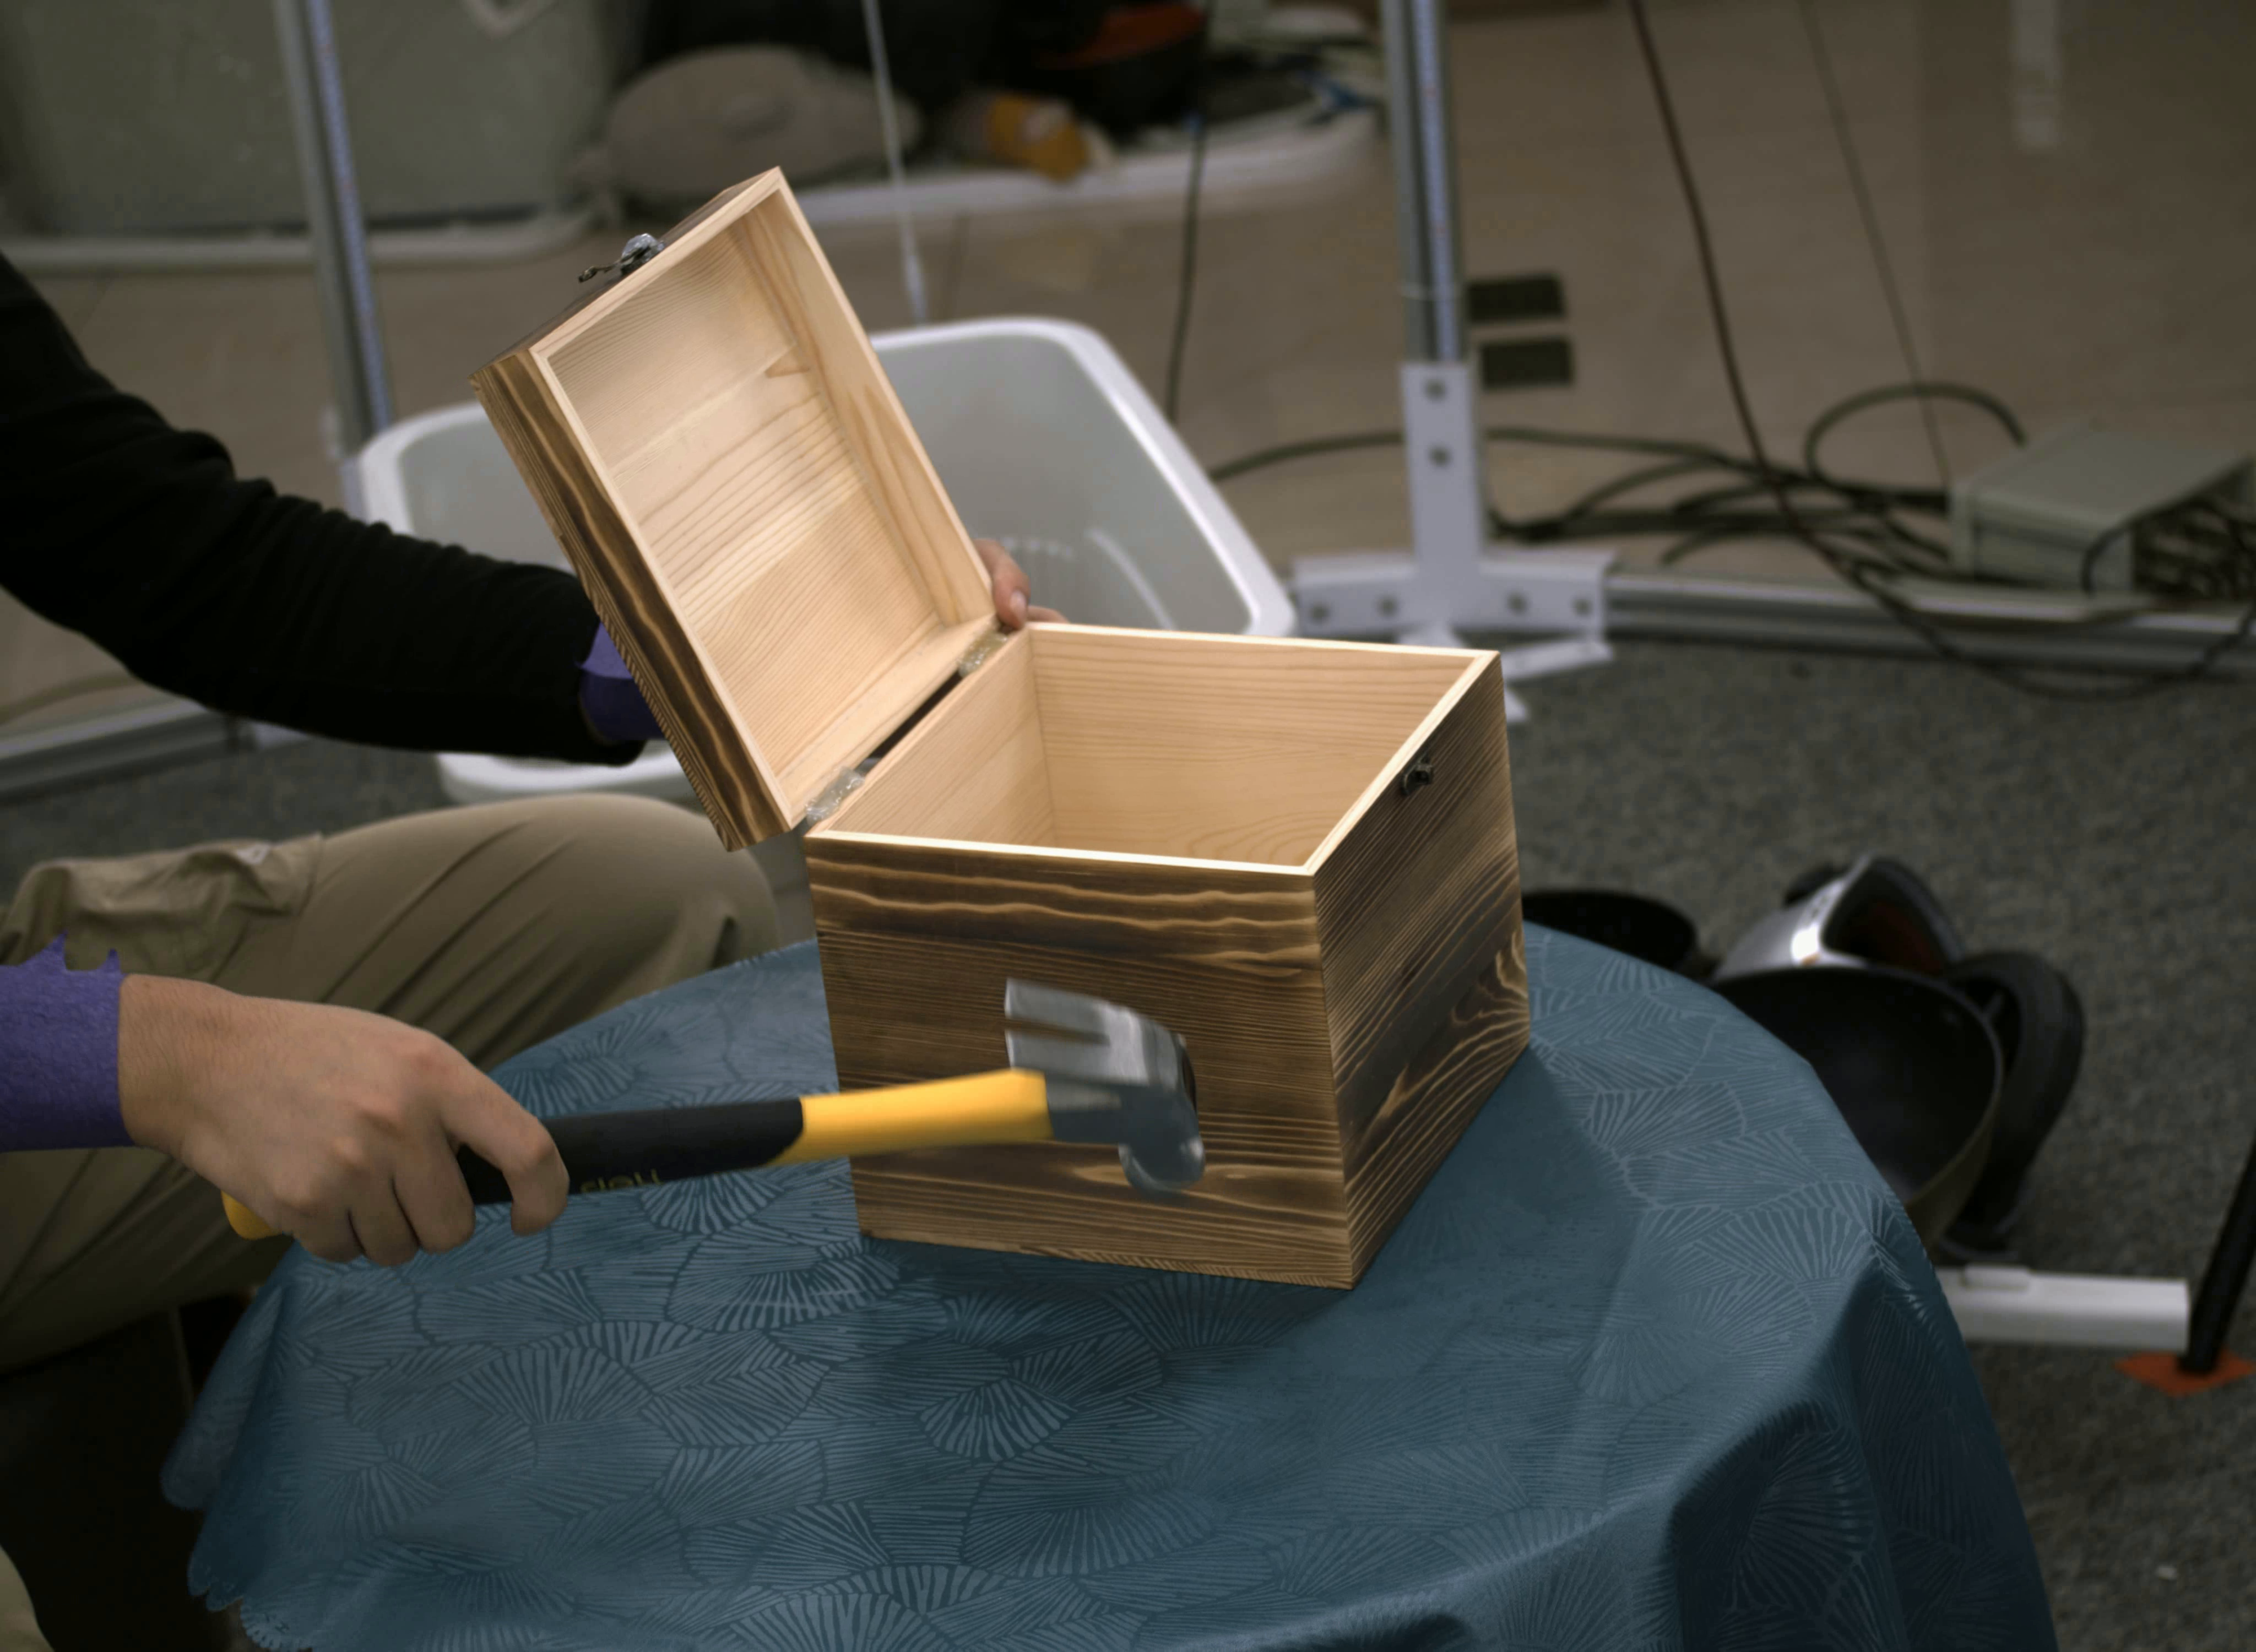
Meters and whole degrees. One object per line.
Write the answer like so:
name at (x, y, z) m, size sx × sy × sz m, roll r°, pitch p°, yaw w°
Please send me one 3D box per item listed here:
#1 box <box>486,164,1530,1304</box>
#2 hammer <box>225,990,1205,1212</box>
box at (-0.038, -0.043, 2.122) m, size 0.321 × 0.381 × 0.206 m, roll 4°, pitch 28°, yaw 23°
hammer at (-0.145, 0.105, 1.966) m, size 0.338 × 0.133 × 0.032 m, roll -4°, pitch 64°, yaw 4°
